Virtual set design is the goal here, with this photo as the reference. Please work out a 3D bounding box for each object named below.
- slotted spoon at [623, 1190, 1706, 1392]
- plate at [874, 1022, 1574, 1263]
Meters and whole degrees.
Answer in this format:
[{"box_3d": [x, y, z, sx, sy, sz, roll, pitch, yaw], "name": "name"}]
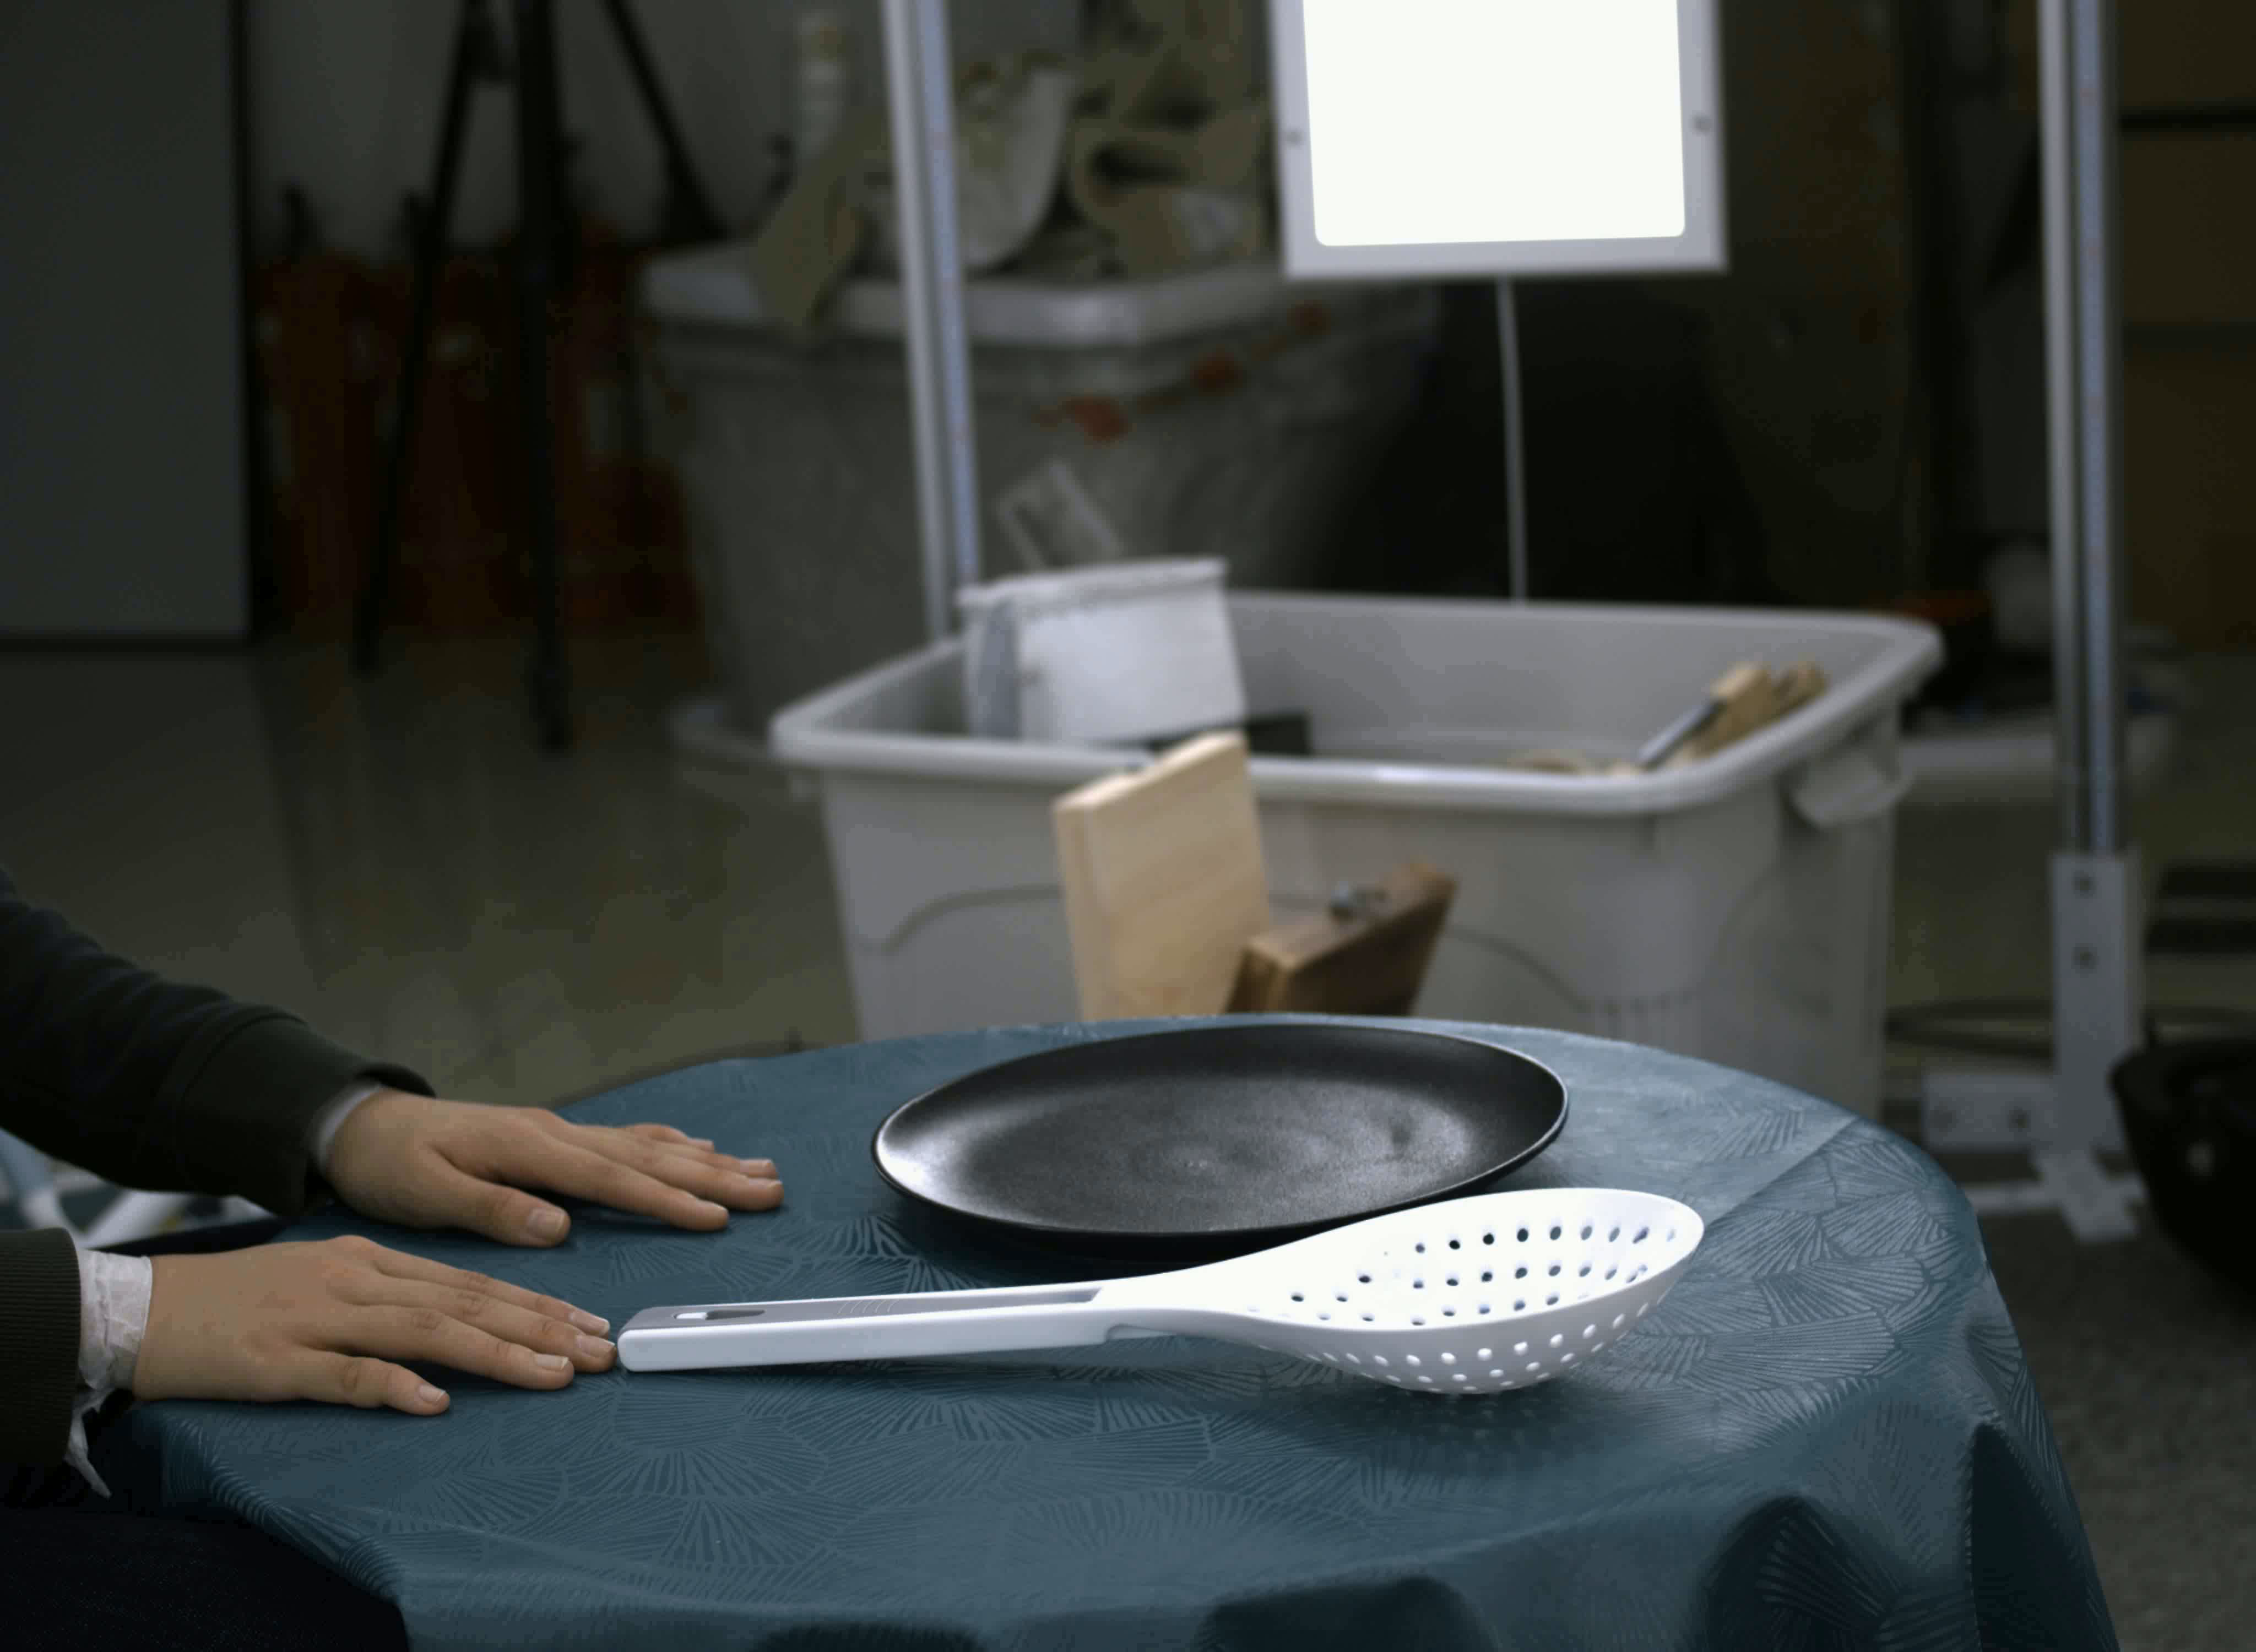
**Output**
[{"box_3d": [0.007, 0.148, 1.709, 0.354, 0.046, 0.134, -1, 12, 18], "name": "slotted spoon"}, {"box_3d": [0.034, 0.112, 1.898, 0.244, 0.023, 0.244, -5, 14, 0], "name": "plate"}]
